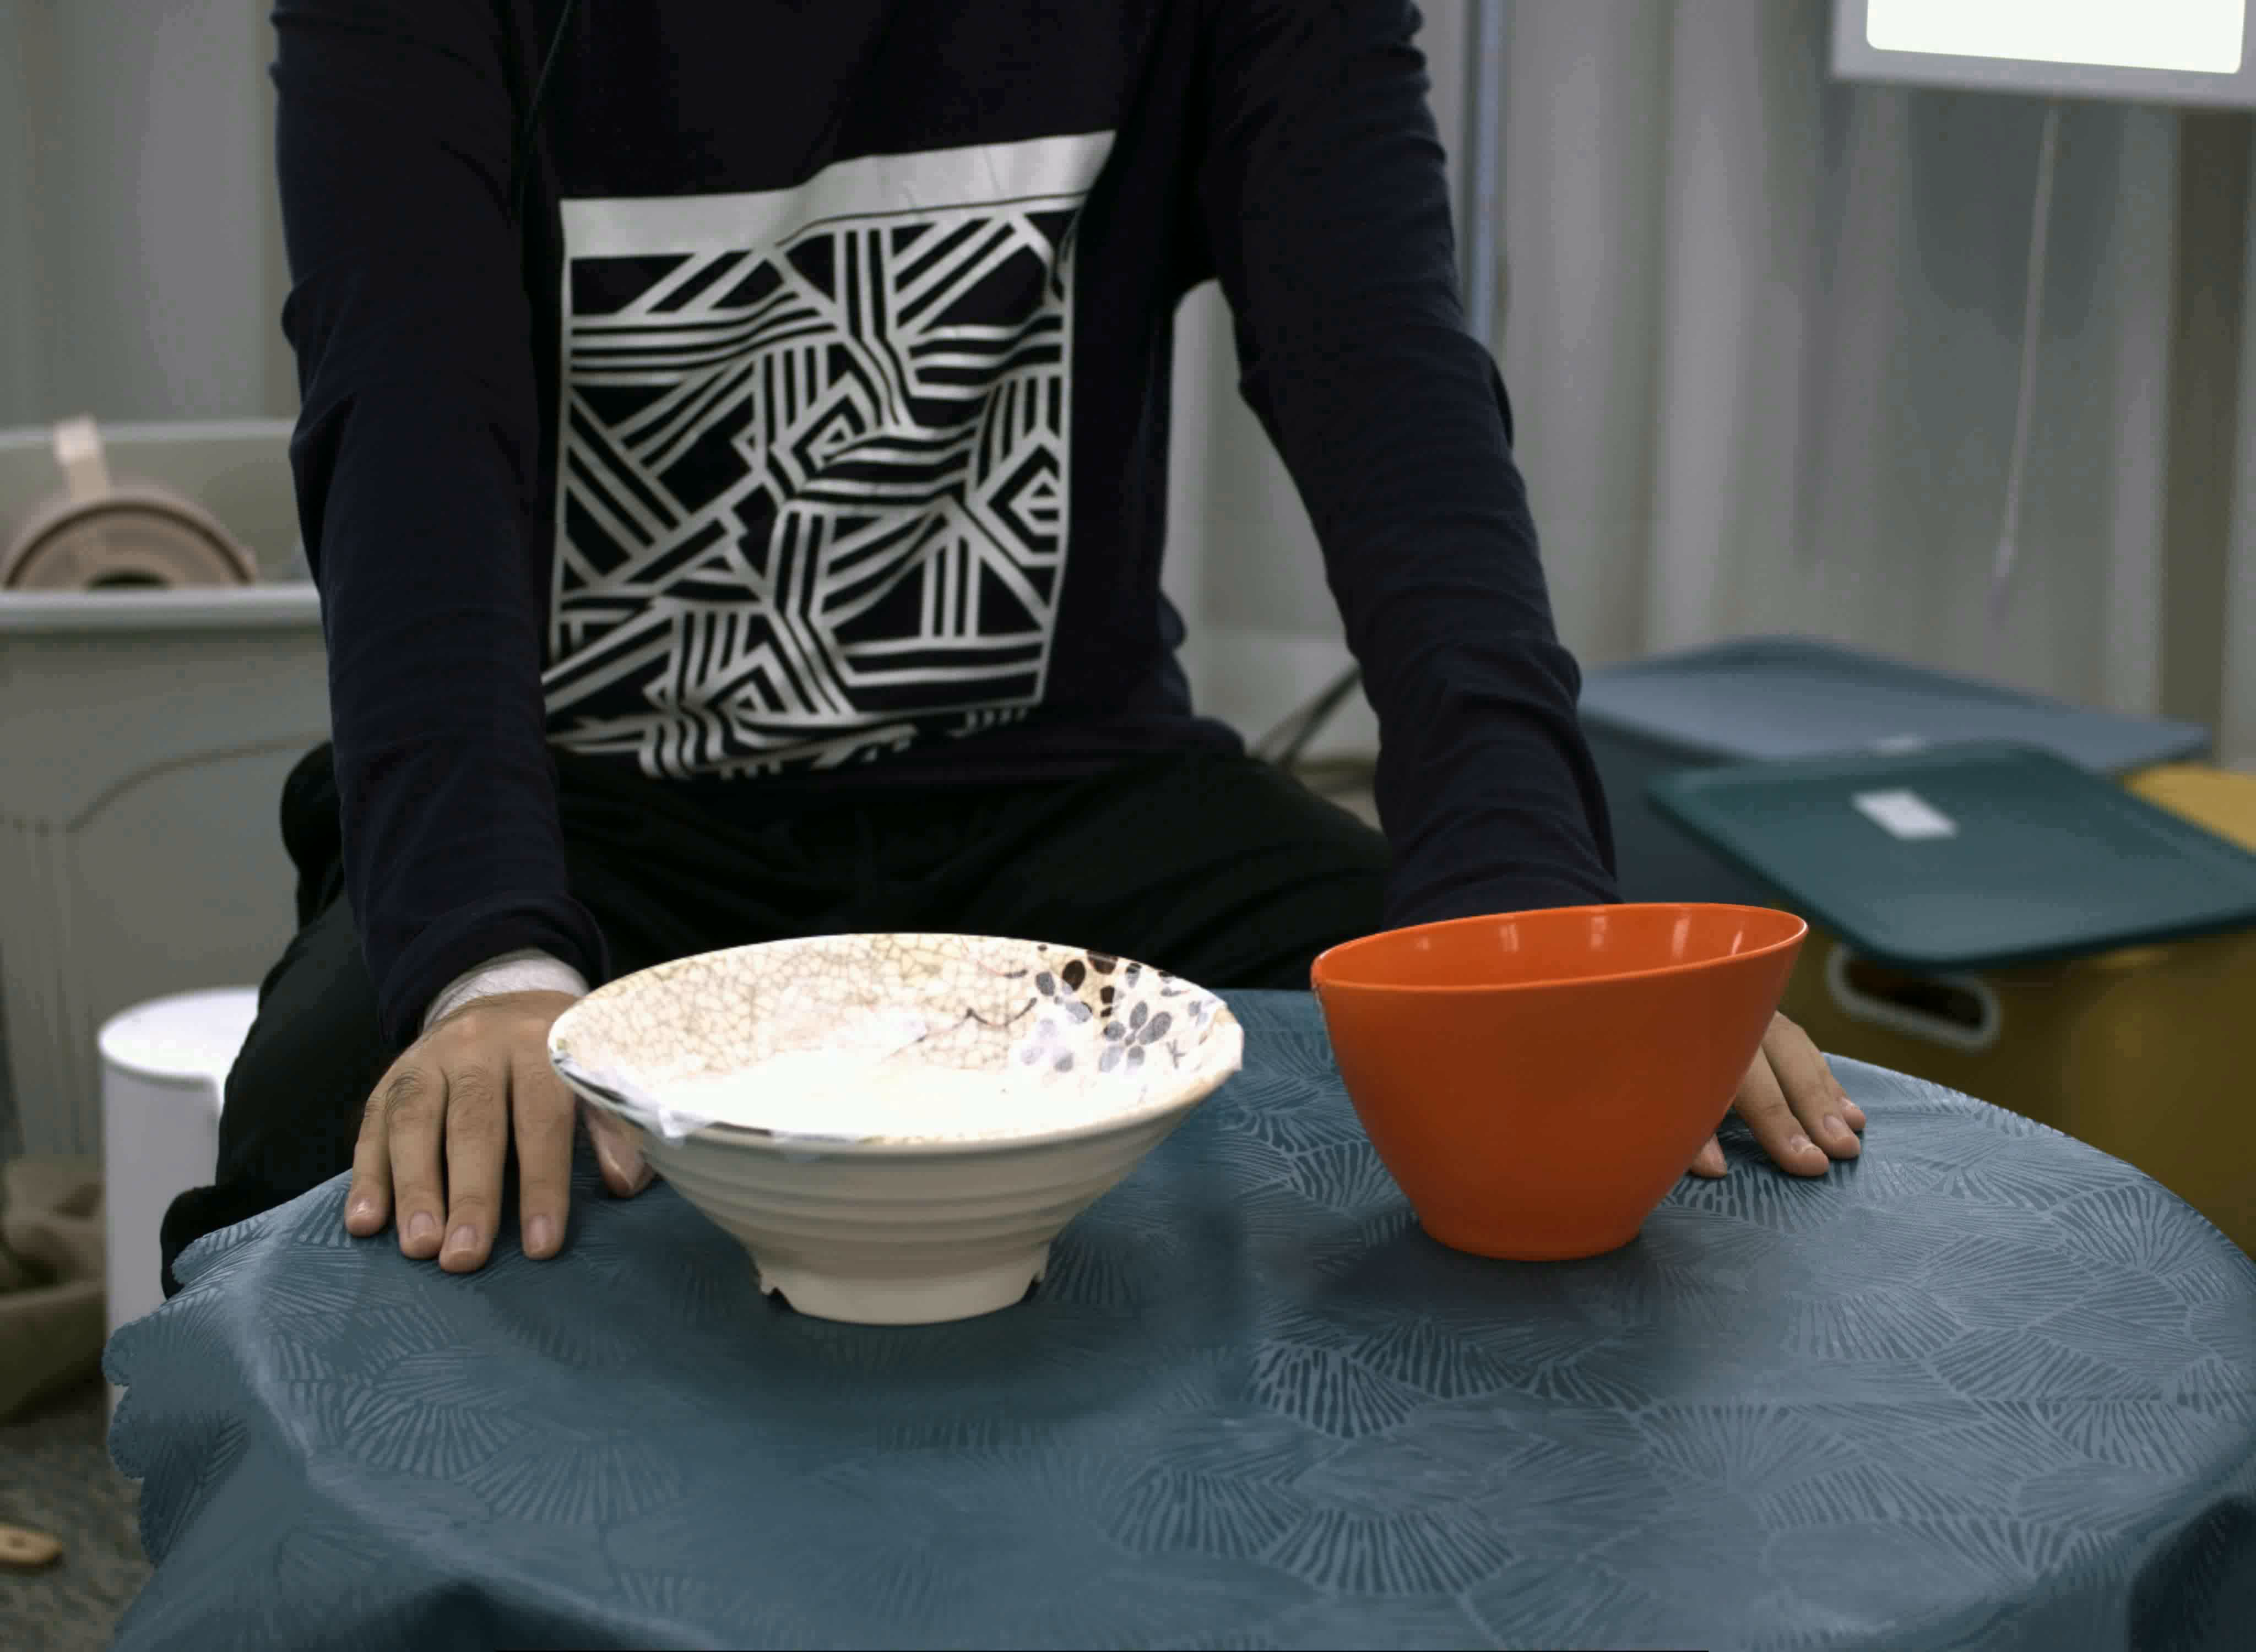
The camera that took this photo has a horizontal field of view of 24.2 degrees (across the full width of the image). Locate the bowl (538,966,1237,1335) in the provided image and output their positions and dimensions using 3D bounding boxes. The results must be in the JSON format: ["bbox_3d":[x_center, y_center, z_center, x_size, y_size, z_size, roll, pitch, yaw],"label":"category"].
[{"bbox_3d":[-0.070,0.100,1.537,0.203,0.078,0.203,2,11,0],"label":"bowl"}]

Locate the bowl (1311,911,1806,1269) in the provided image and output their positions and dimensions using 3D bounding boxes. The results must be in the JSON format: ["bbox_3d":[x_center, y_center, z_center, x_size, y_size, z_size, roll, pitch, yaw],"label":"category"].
[{"bbox_3d":[0.127,0.076,1.574,0.147,0.105,0.147,0,14,1],"label":"bowl"}]
